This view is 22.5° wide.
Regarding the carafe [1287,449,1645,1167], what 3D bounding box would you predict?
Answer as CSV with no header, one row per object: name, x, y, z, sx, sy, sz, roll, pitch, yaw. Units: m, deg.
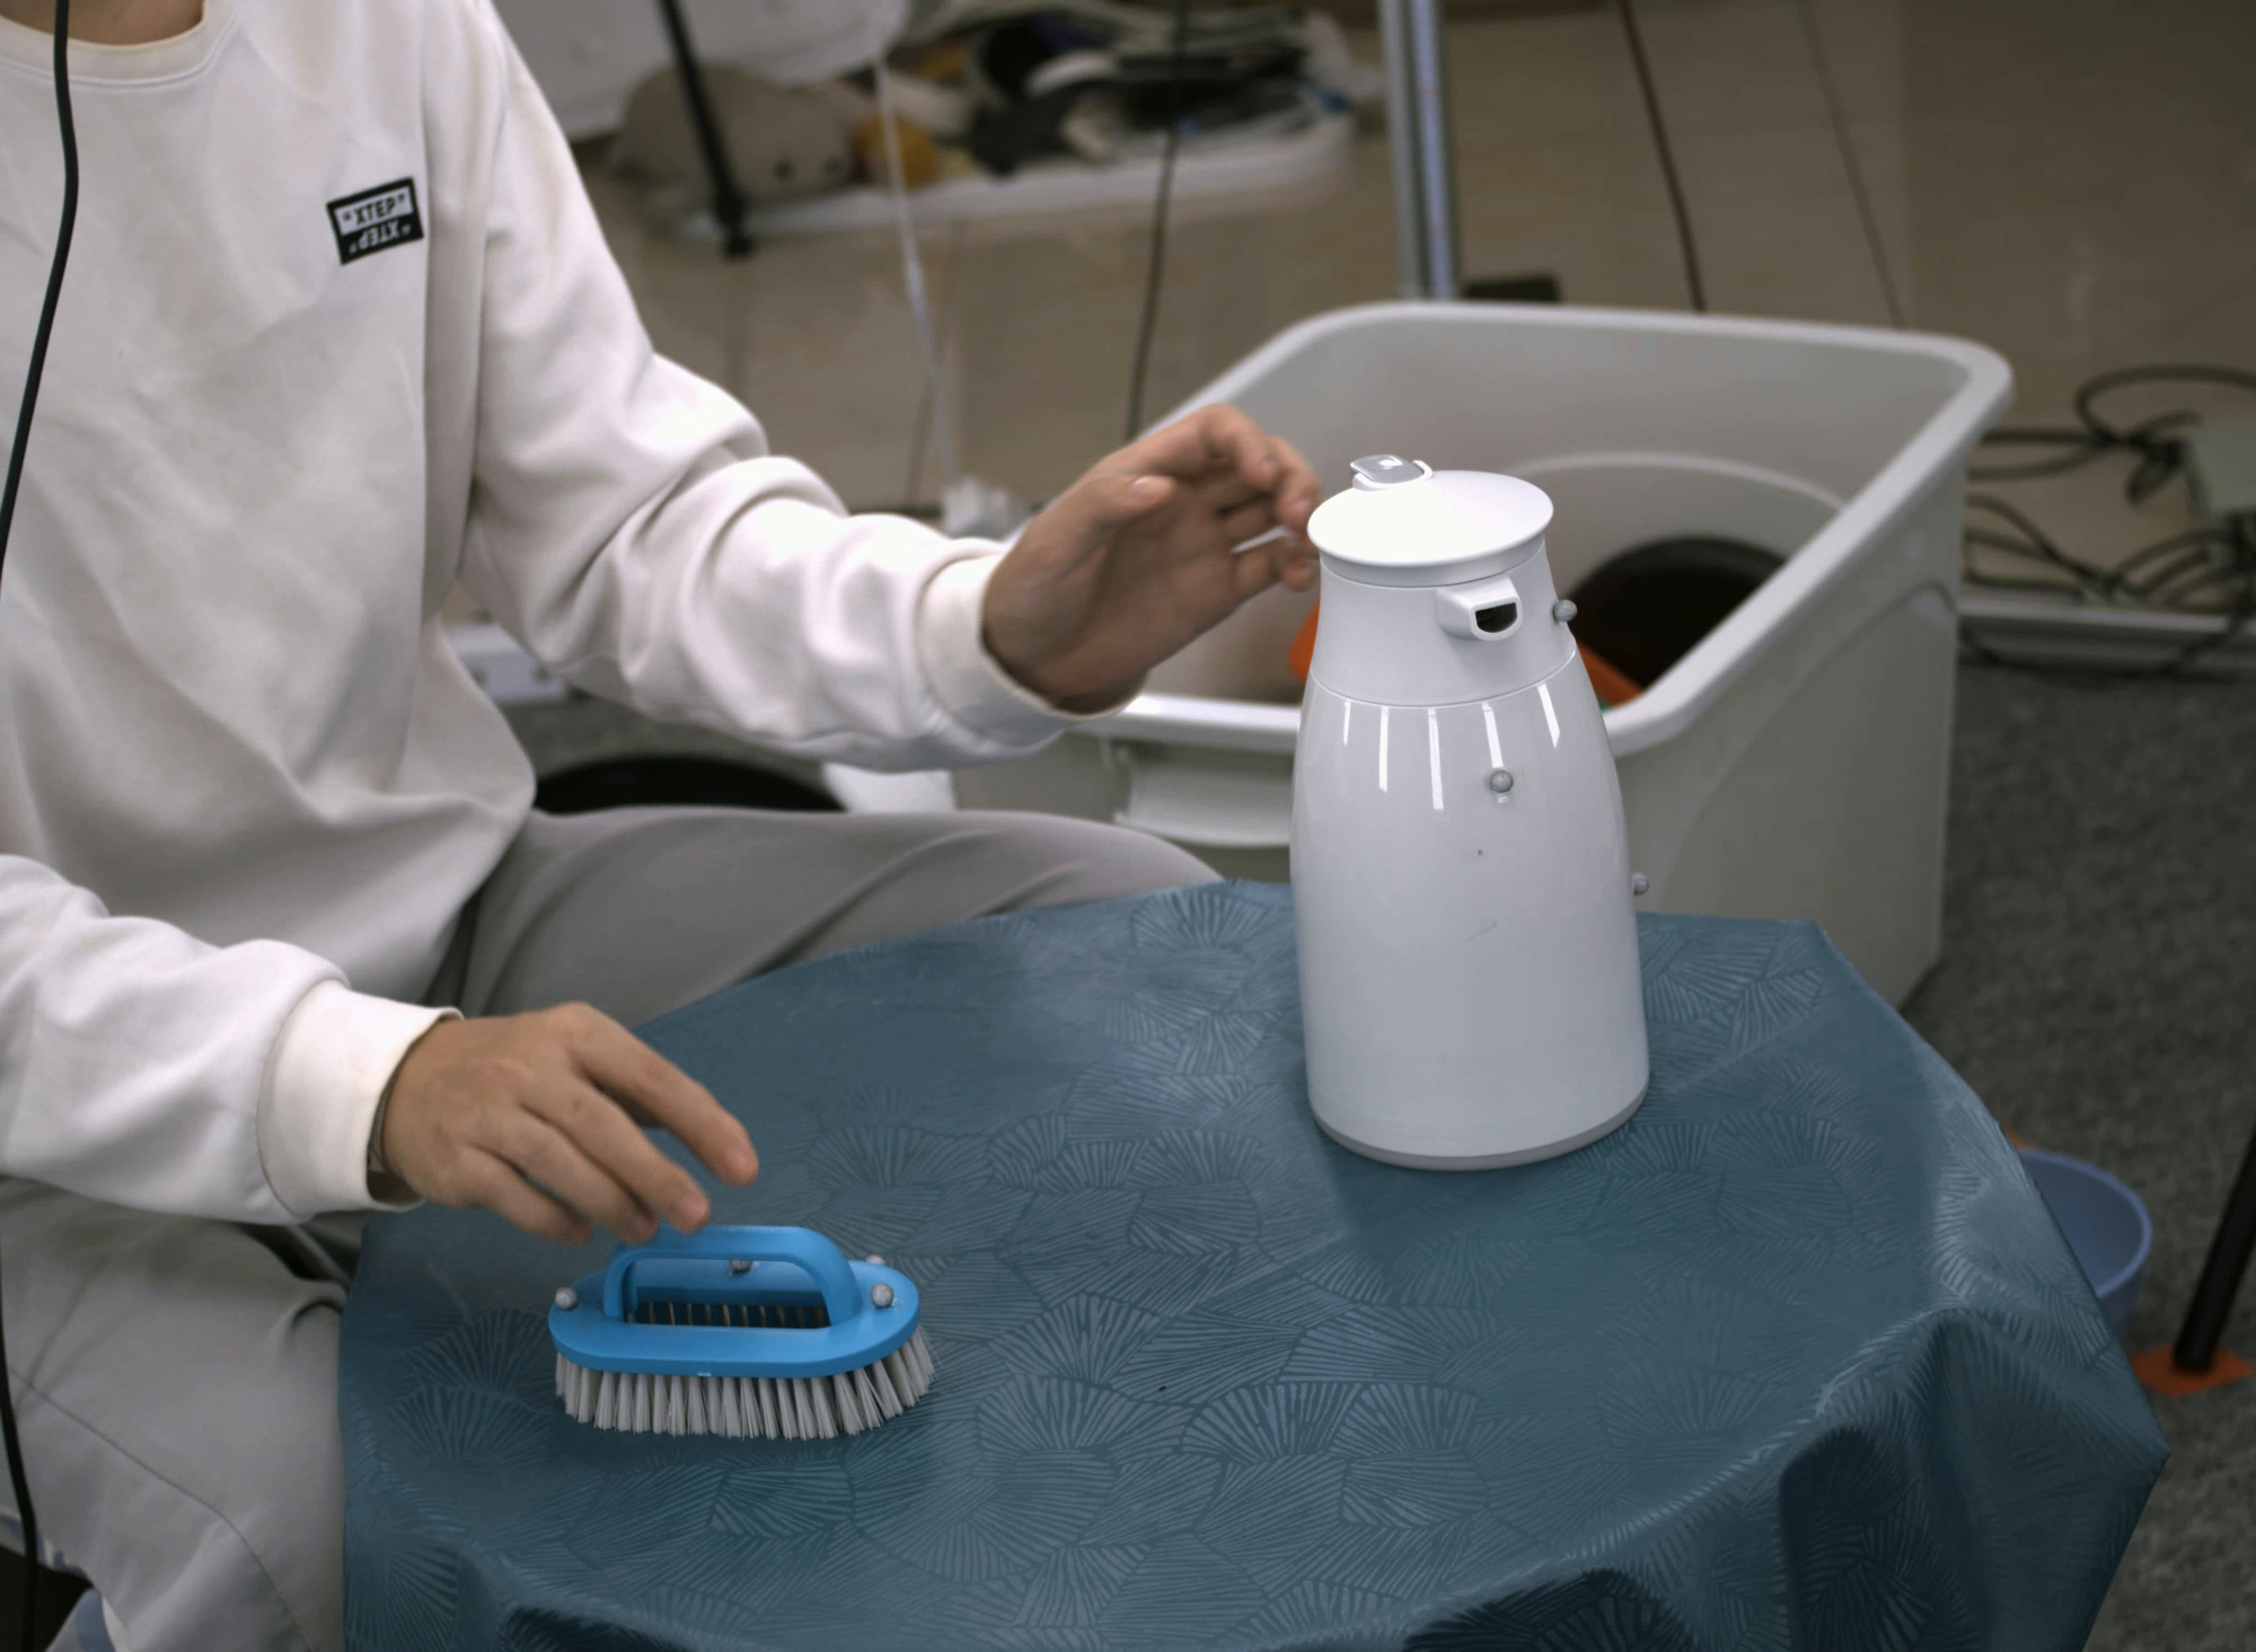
carafe,0.115,-0.017,2.153,0.132,0.252,0.165,-14,26,-16

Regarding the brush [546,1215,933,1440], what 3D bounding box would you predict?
brush,-0.143,0.170,2.034,0.141,0.065,0.083,1,30,17
